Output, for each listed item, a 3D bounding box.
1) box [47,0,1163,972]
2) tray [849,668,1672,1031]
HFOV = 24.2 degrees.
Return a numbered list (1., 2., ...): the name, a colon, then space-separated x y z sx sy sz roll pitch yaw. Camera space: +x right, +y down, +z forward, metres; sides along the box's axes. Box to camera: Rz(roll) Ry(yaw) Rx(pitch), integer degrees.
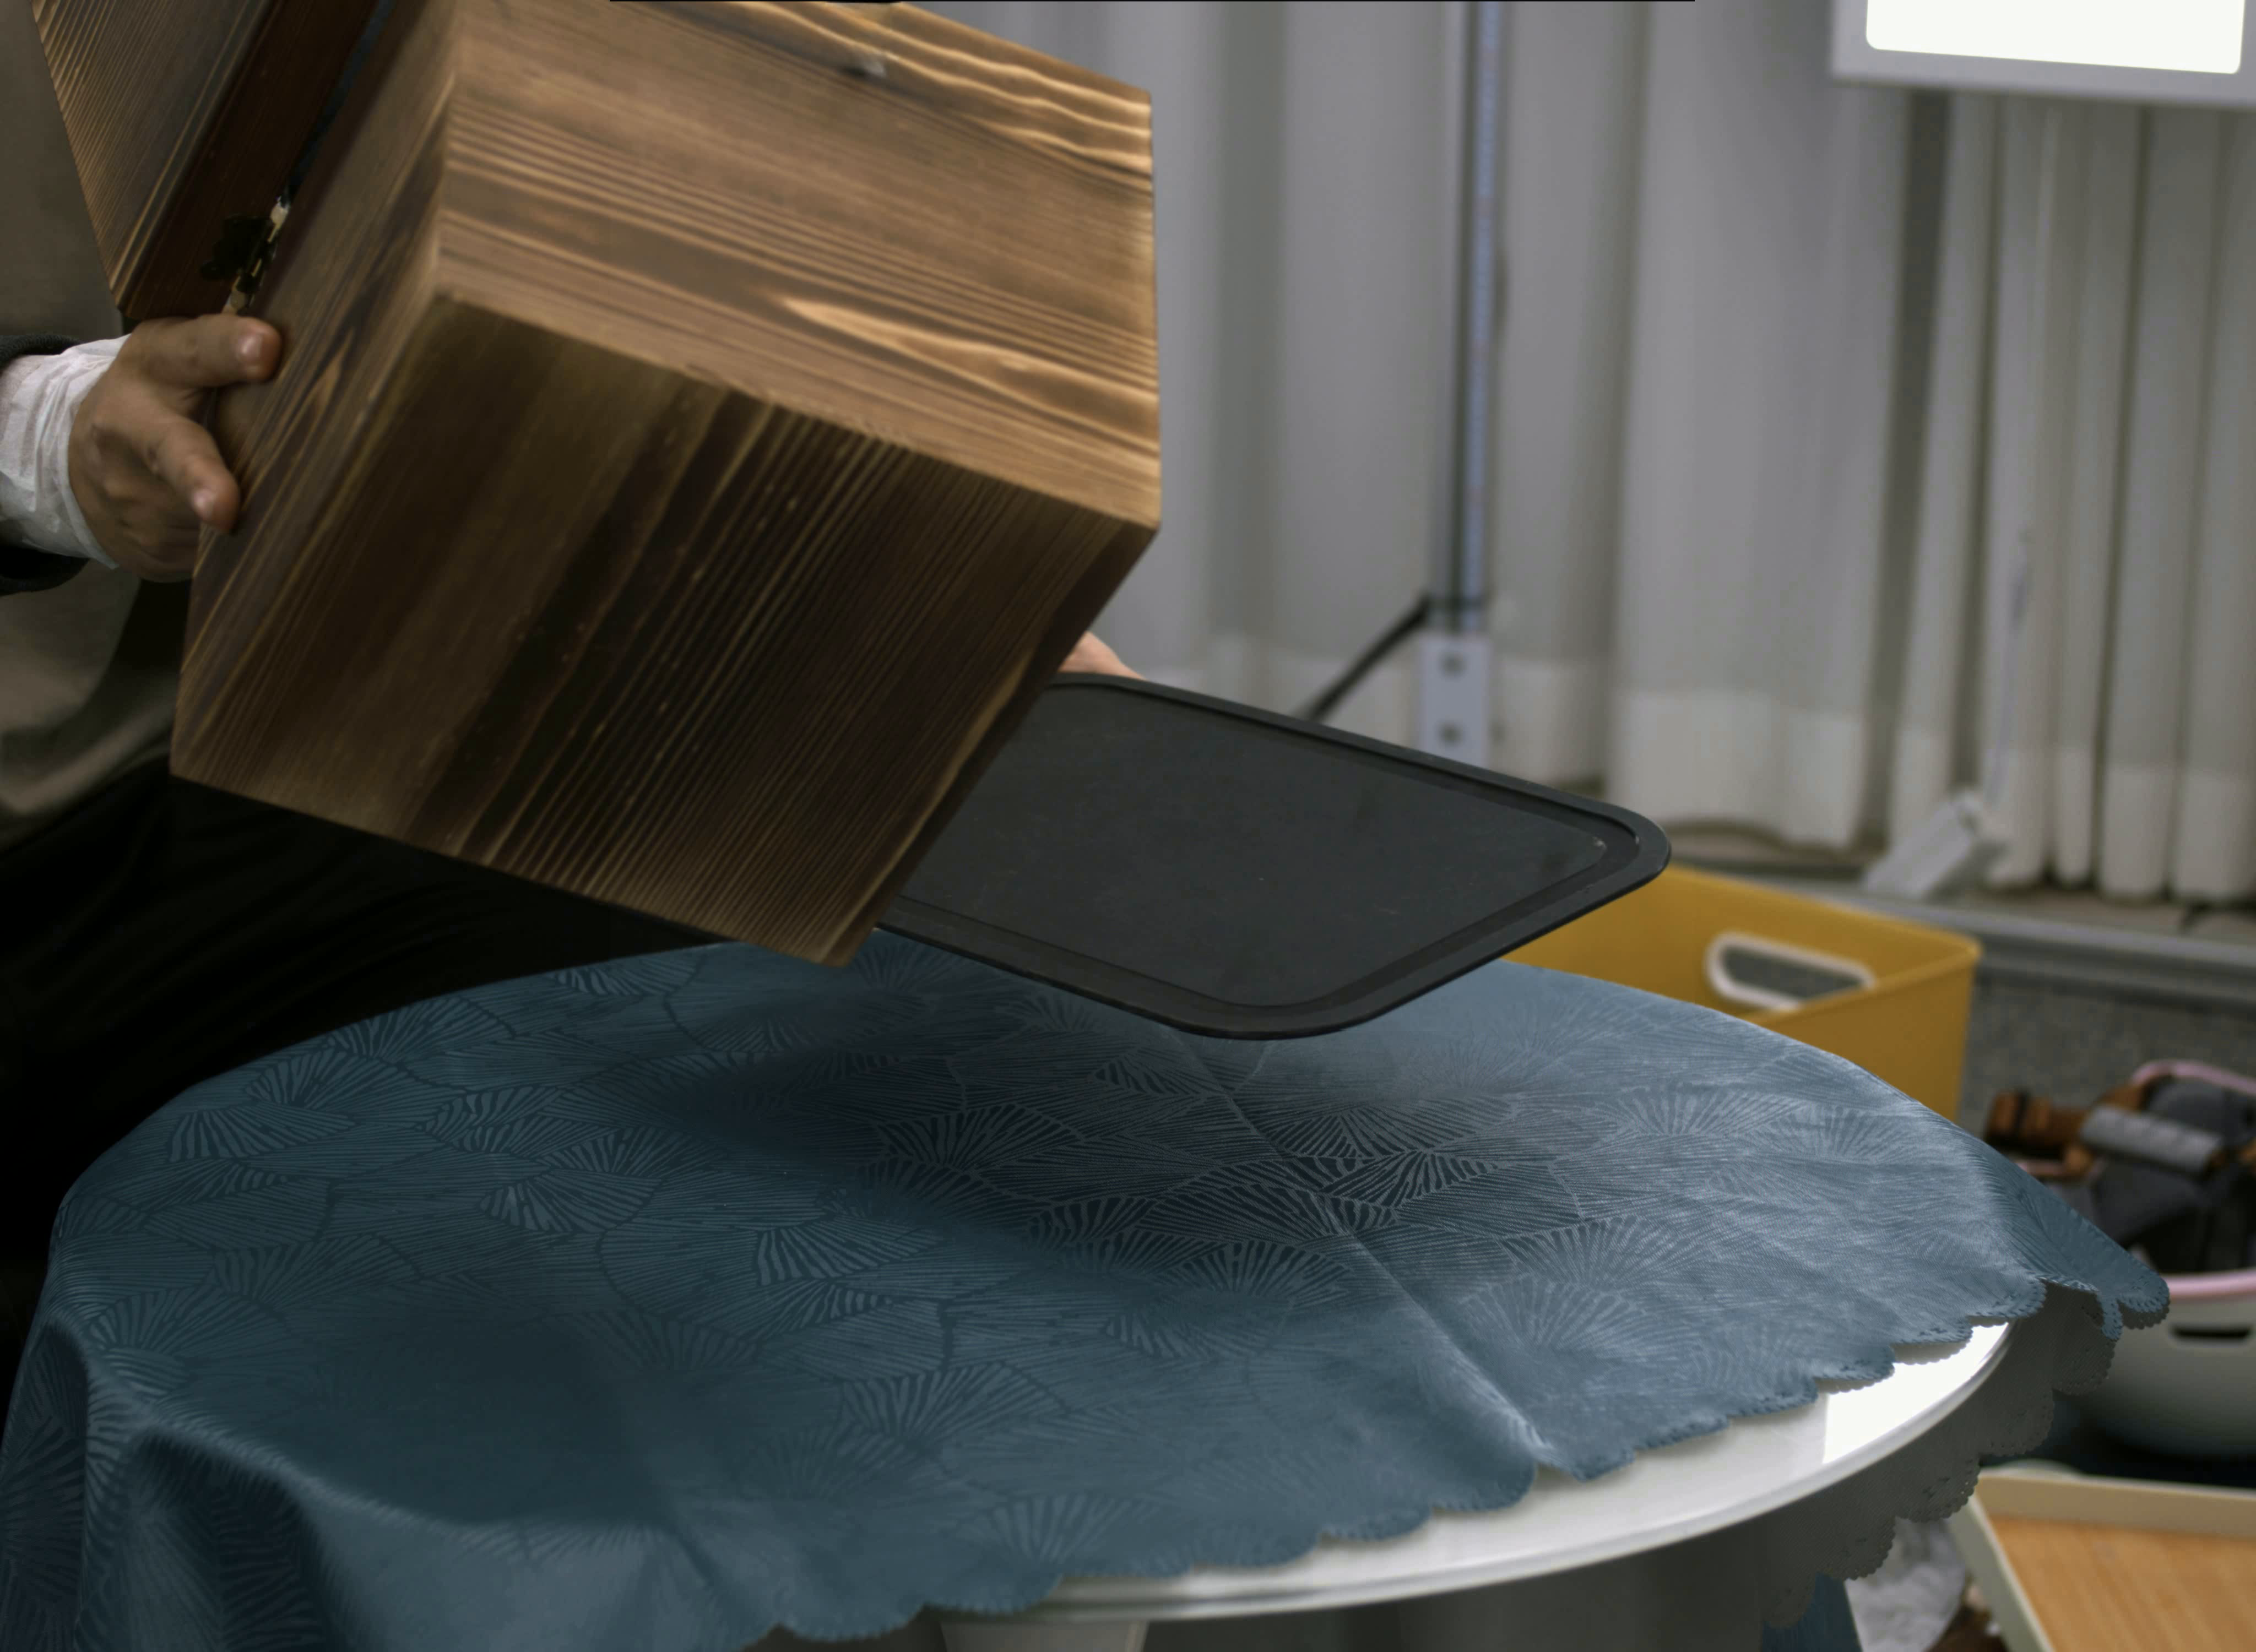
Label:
1. box: -0.171 -0.200 1.459 0.324 0.209 0.372 17 48 -22
2. tray: -0.001 0.000 1.681 0.321 0.010 0.212 17 29 40
